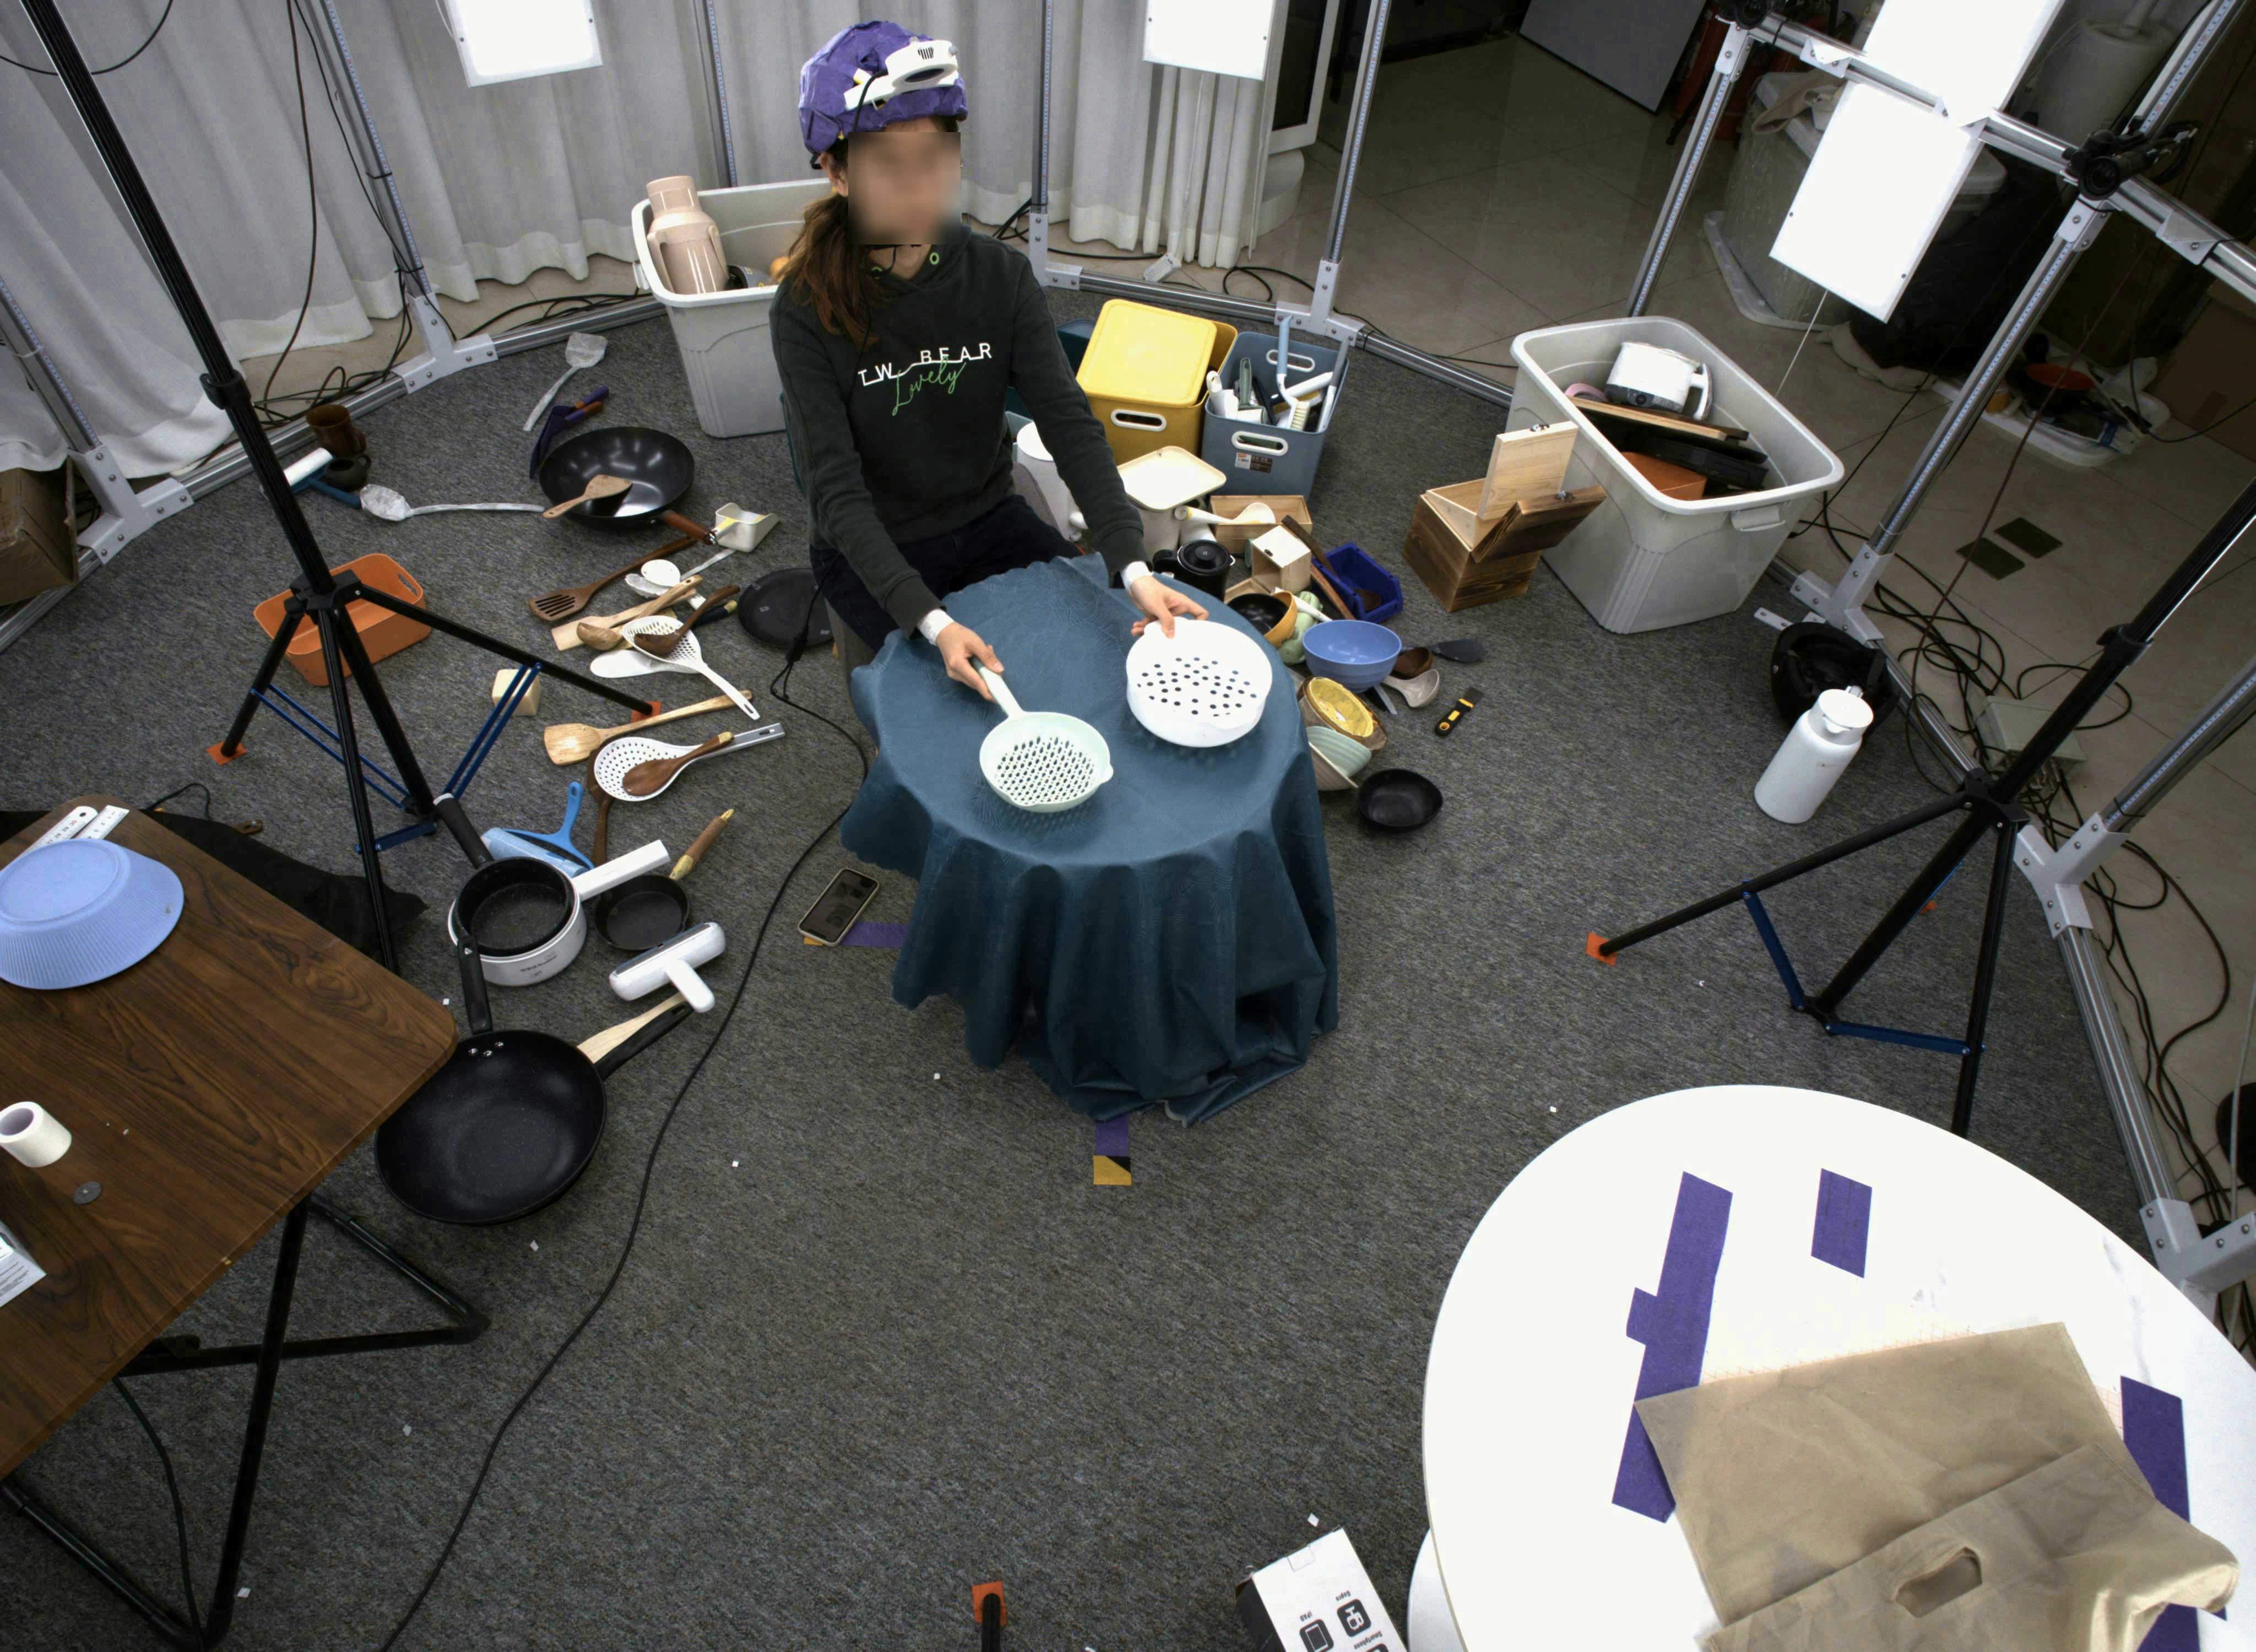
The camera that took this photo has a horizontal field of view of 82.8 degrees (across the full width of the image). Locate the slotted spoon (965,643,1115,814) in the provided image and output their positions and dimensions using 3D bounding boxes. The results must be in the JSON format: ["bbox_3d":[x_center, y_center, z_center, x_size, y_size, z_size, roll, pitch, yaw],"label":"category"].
[{"bbox_3d":[-0.151,-0.147,1.750,0.169,0.073,0.366,-18,57,-20],"label":"slotted spoon"}]

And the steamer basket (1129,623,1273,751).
[{"bbox_3d":[0.100,-0.192,1.797,0.202,0.067,0.236,-19,51,-21],"label":"steamer basket"}]
